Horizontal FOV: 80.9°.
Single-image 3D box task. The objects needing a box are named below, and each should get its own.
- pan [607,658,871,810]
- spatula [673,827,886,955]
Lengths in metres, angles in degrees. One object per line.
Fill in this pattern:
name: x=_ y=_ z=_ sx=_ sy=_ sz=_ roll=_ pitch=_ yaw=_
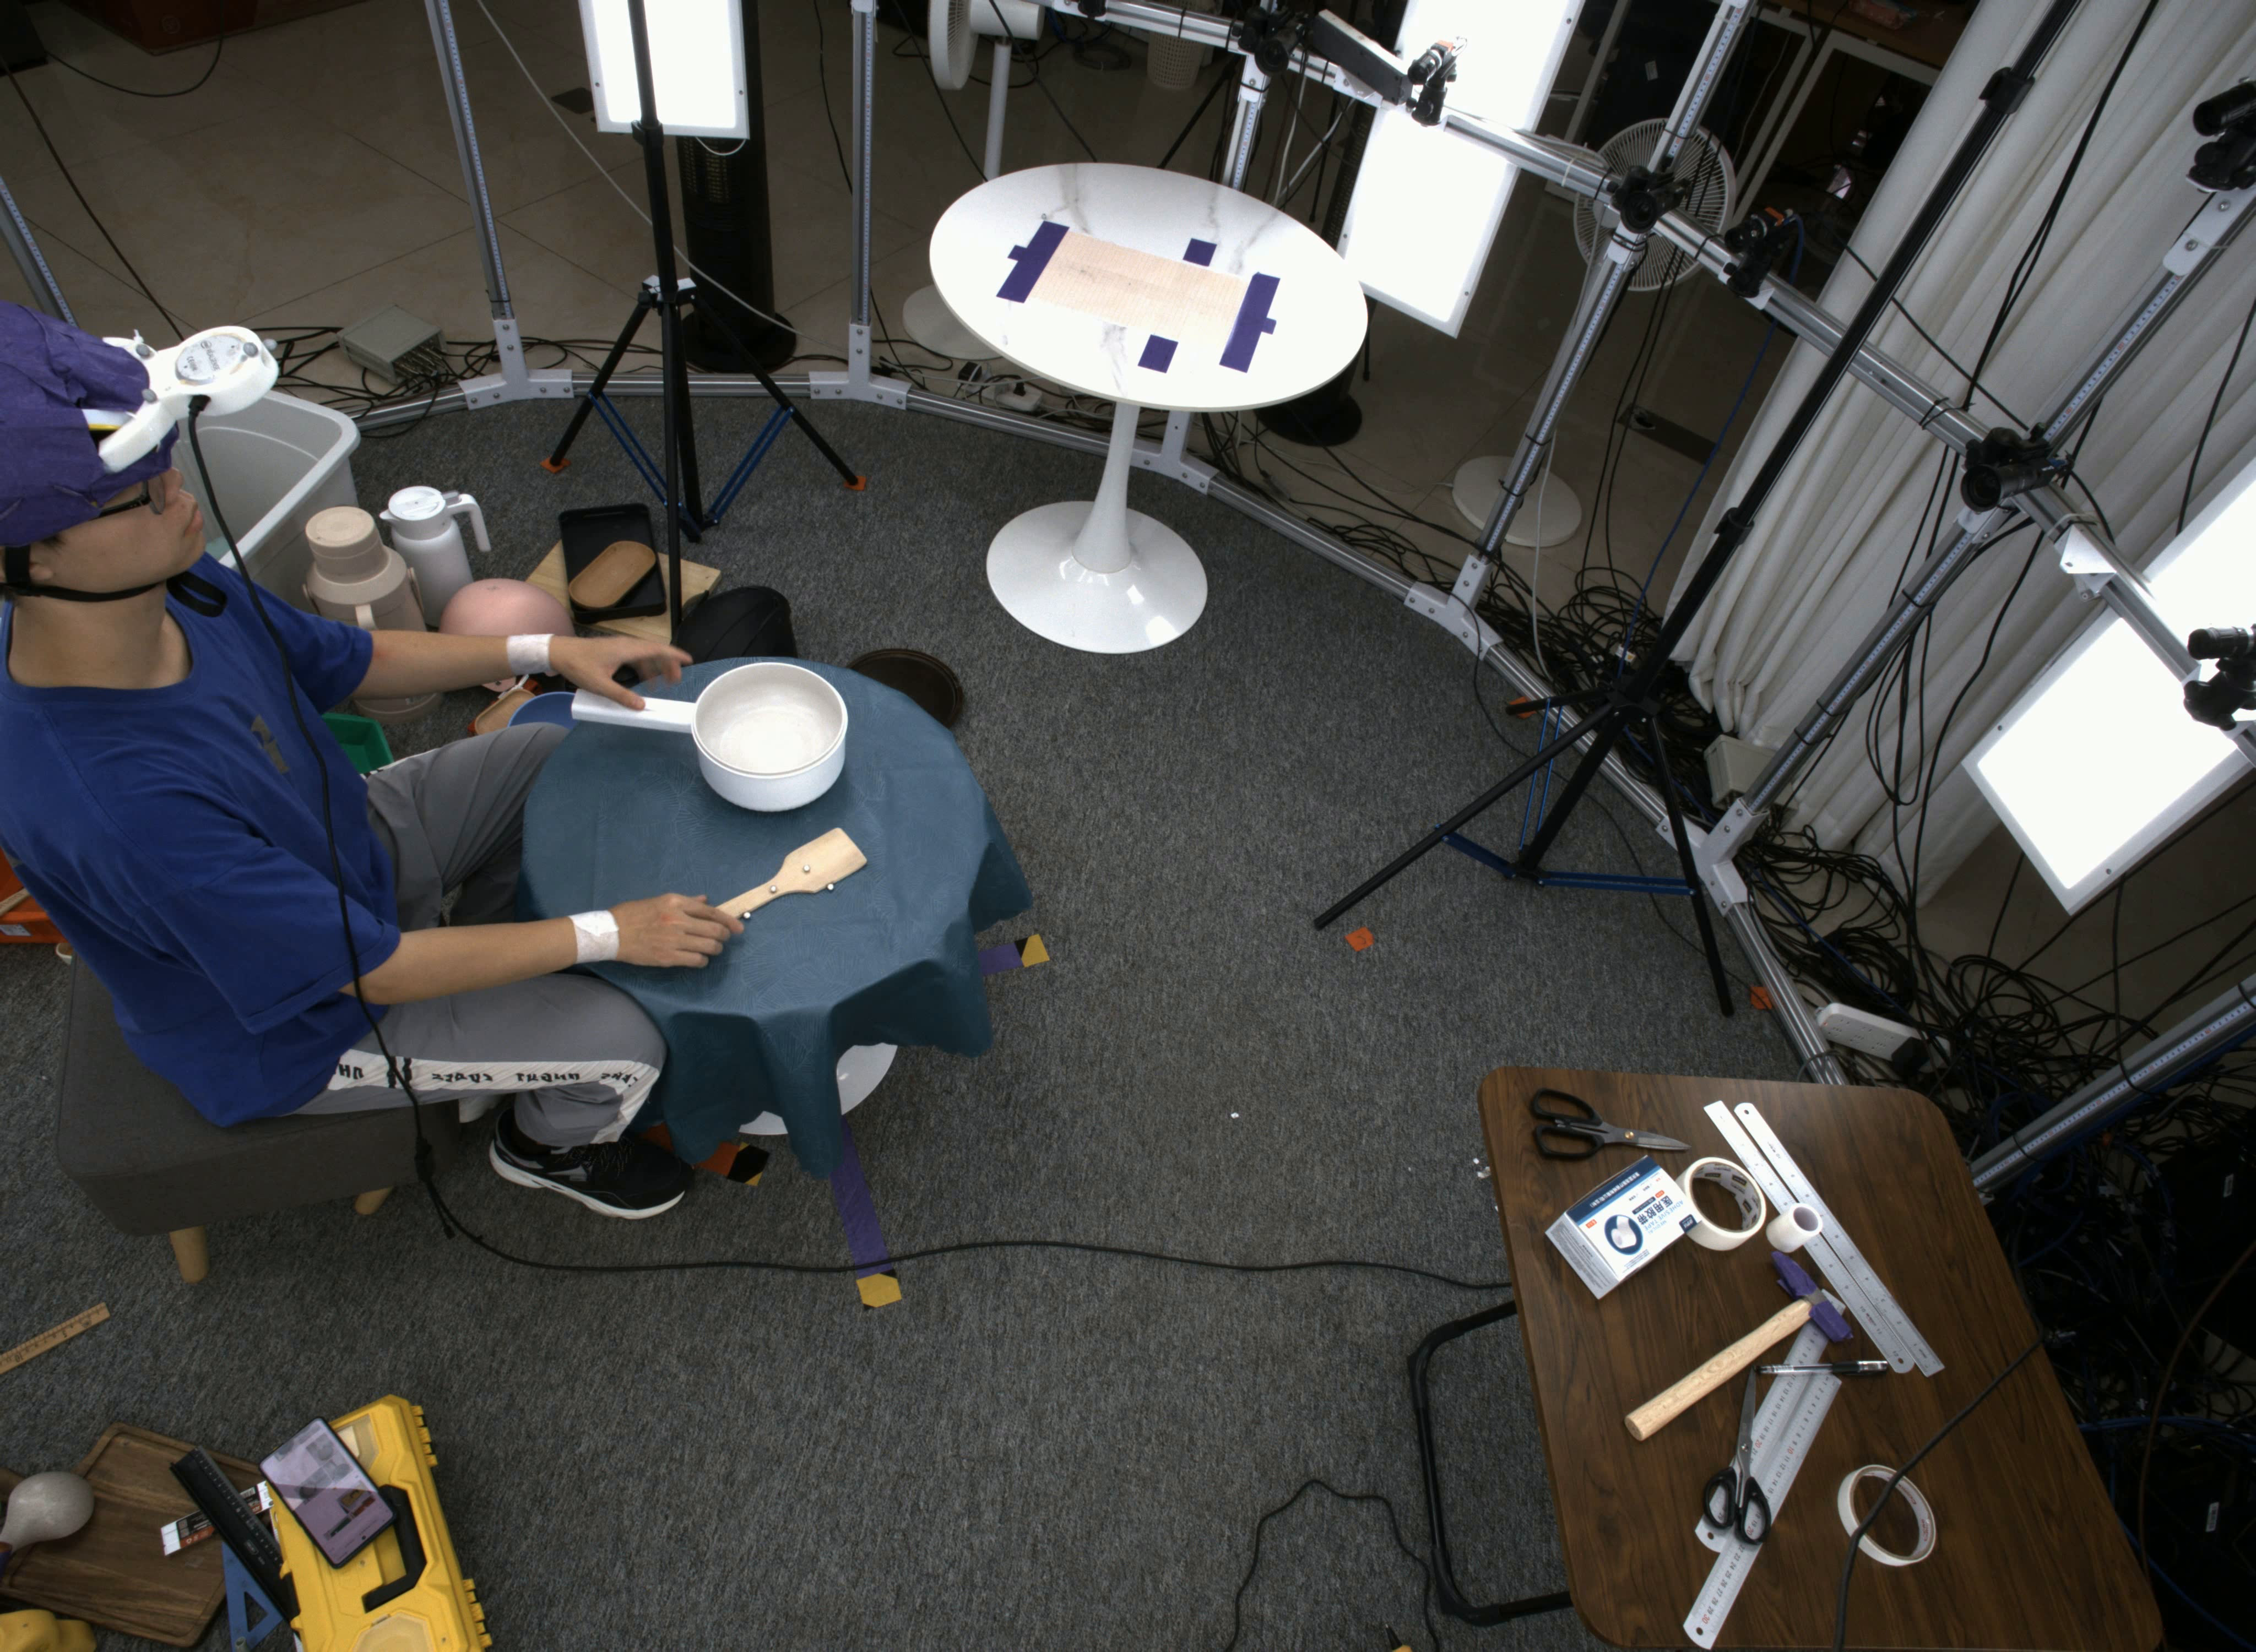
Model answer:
pan: x=-0.525 y=-0.128 z=1.741 sx=0.354 sy=0.104 sz=0.198 roll=7 pitch=54 yaw=-9
spatula: x=-0.447 y=0.086 z=1.658 sx=0.294 sy=0.011 sz=0.070 roll=-30 pitch=67 yaw=-30
